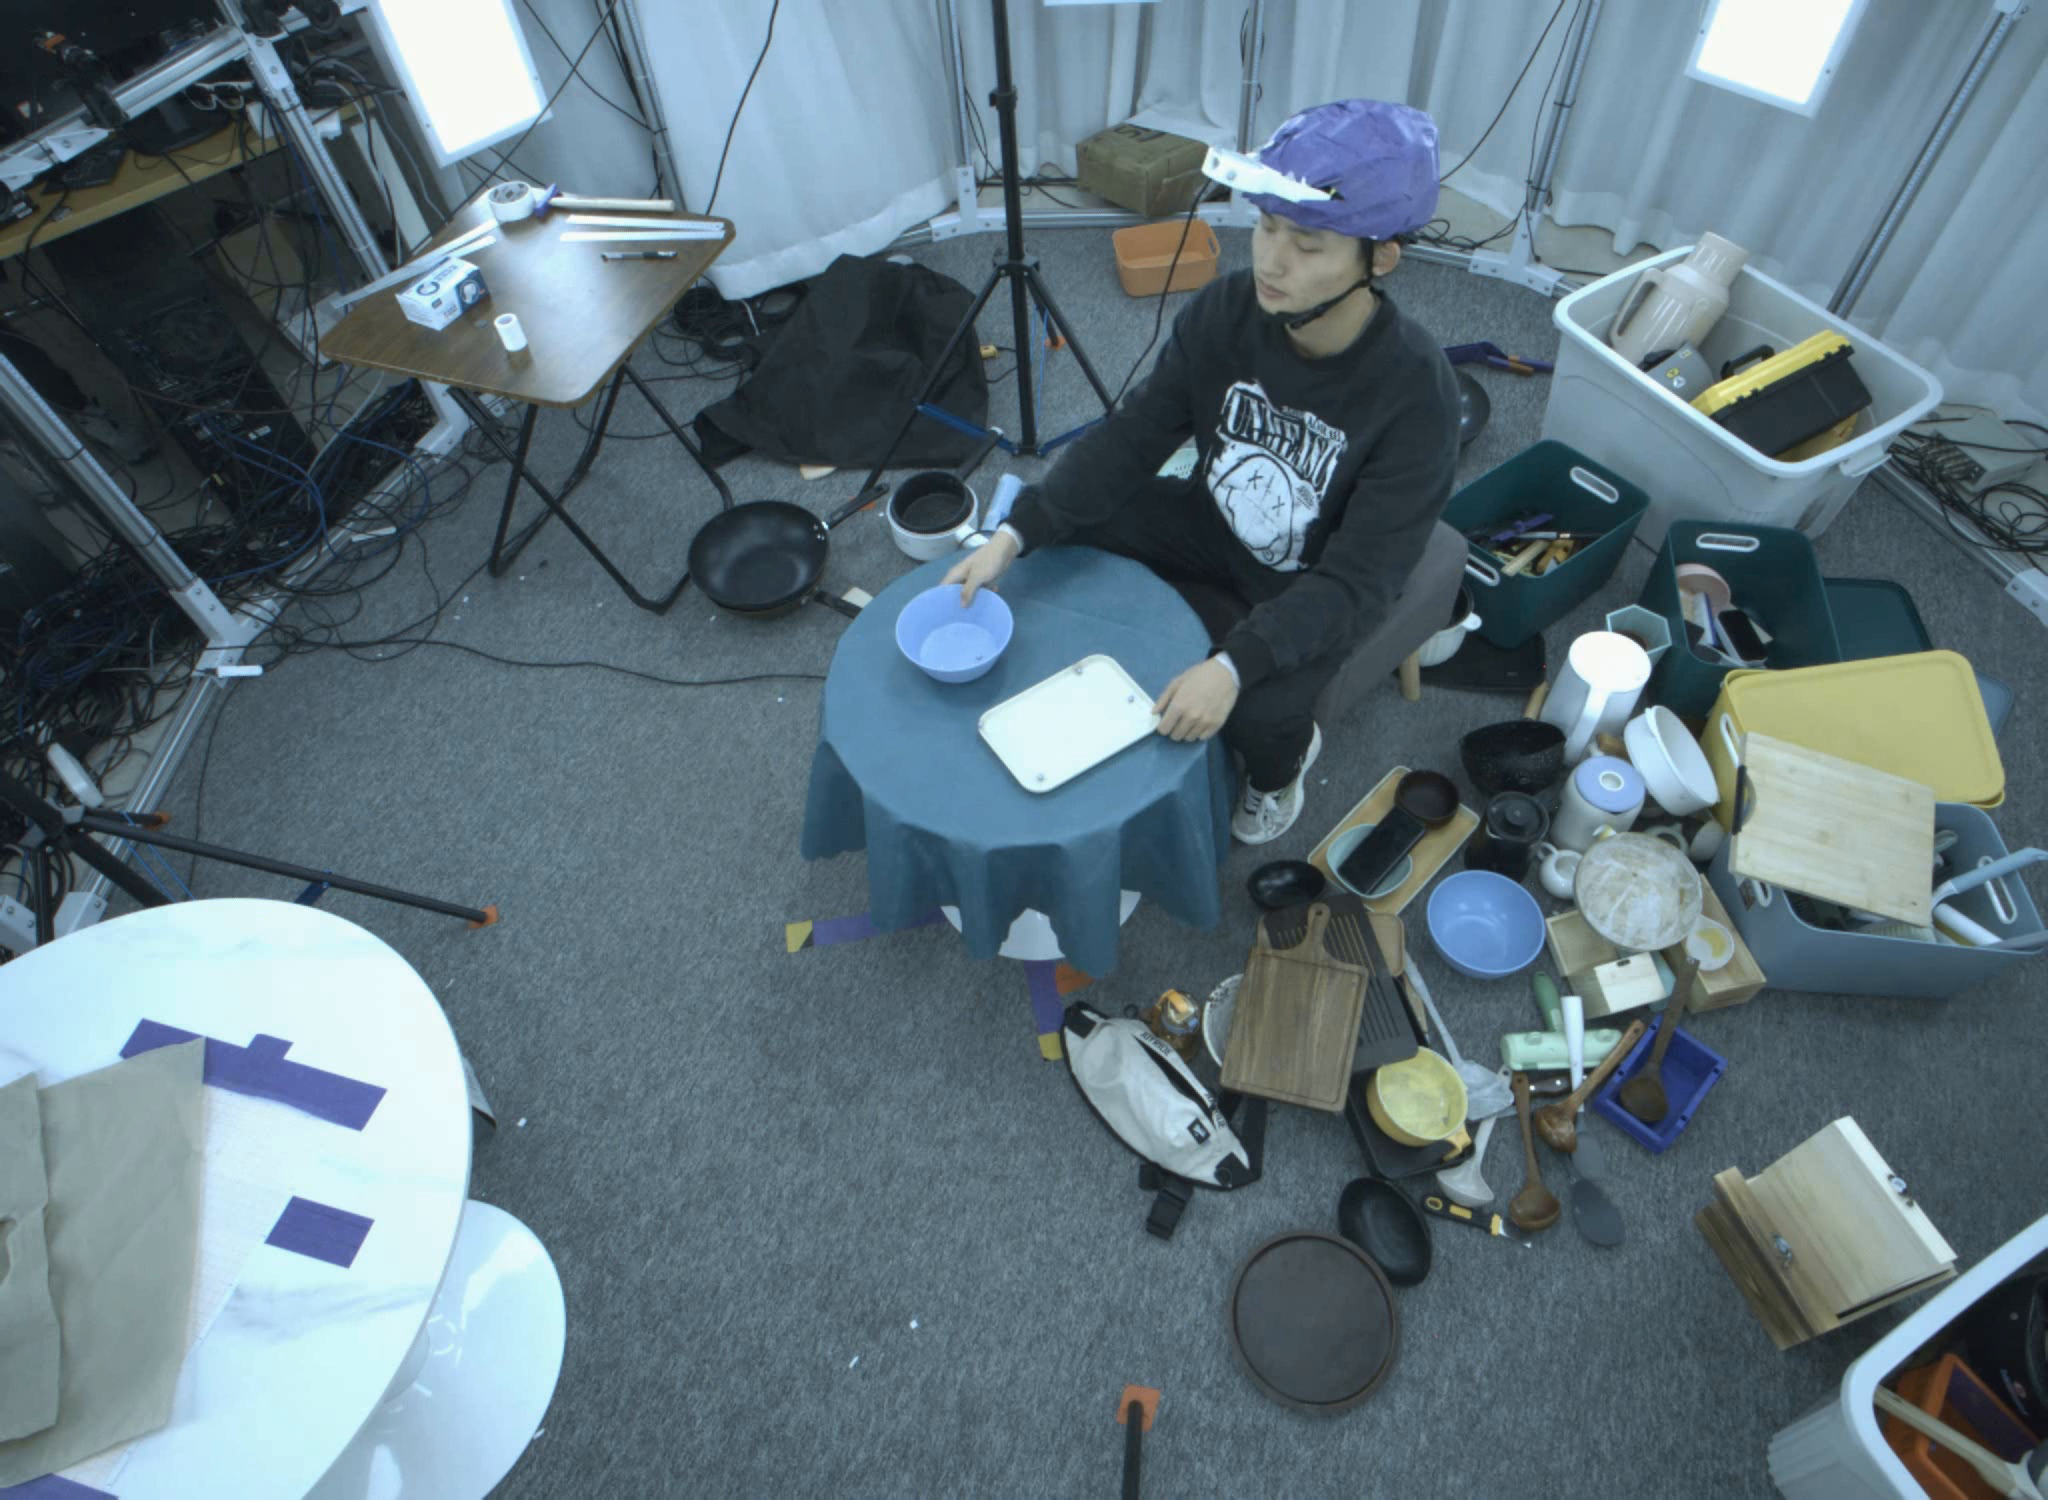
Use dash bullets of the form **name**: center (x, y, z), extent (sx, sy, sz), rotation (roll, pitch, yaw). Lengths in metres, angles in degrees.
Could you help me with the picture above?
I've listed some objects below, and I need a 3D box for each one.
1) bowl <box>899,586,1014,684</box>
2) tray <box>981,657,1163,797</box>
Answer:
- **bowl**: center (-0.100, -0.165, 1.873), extent (0.176, 0.071, 0.174), rotation (-1, 56, 2)
- **tray**: center (0.070, -0.035, 1.810), extent (0.241, 0.017, 0.168), rotation (-29, 60, -18)
